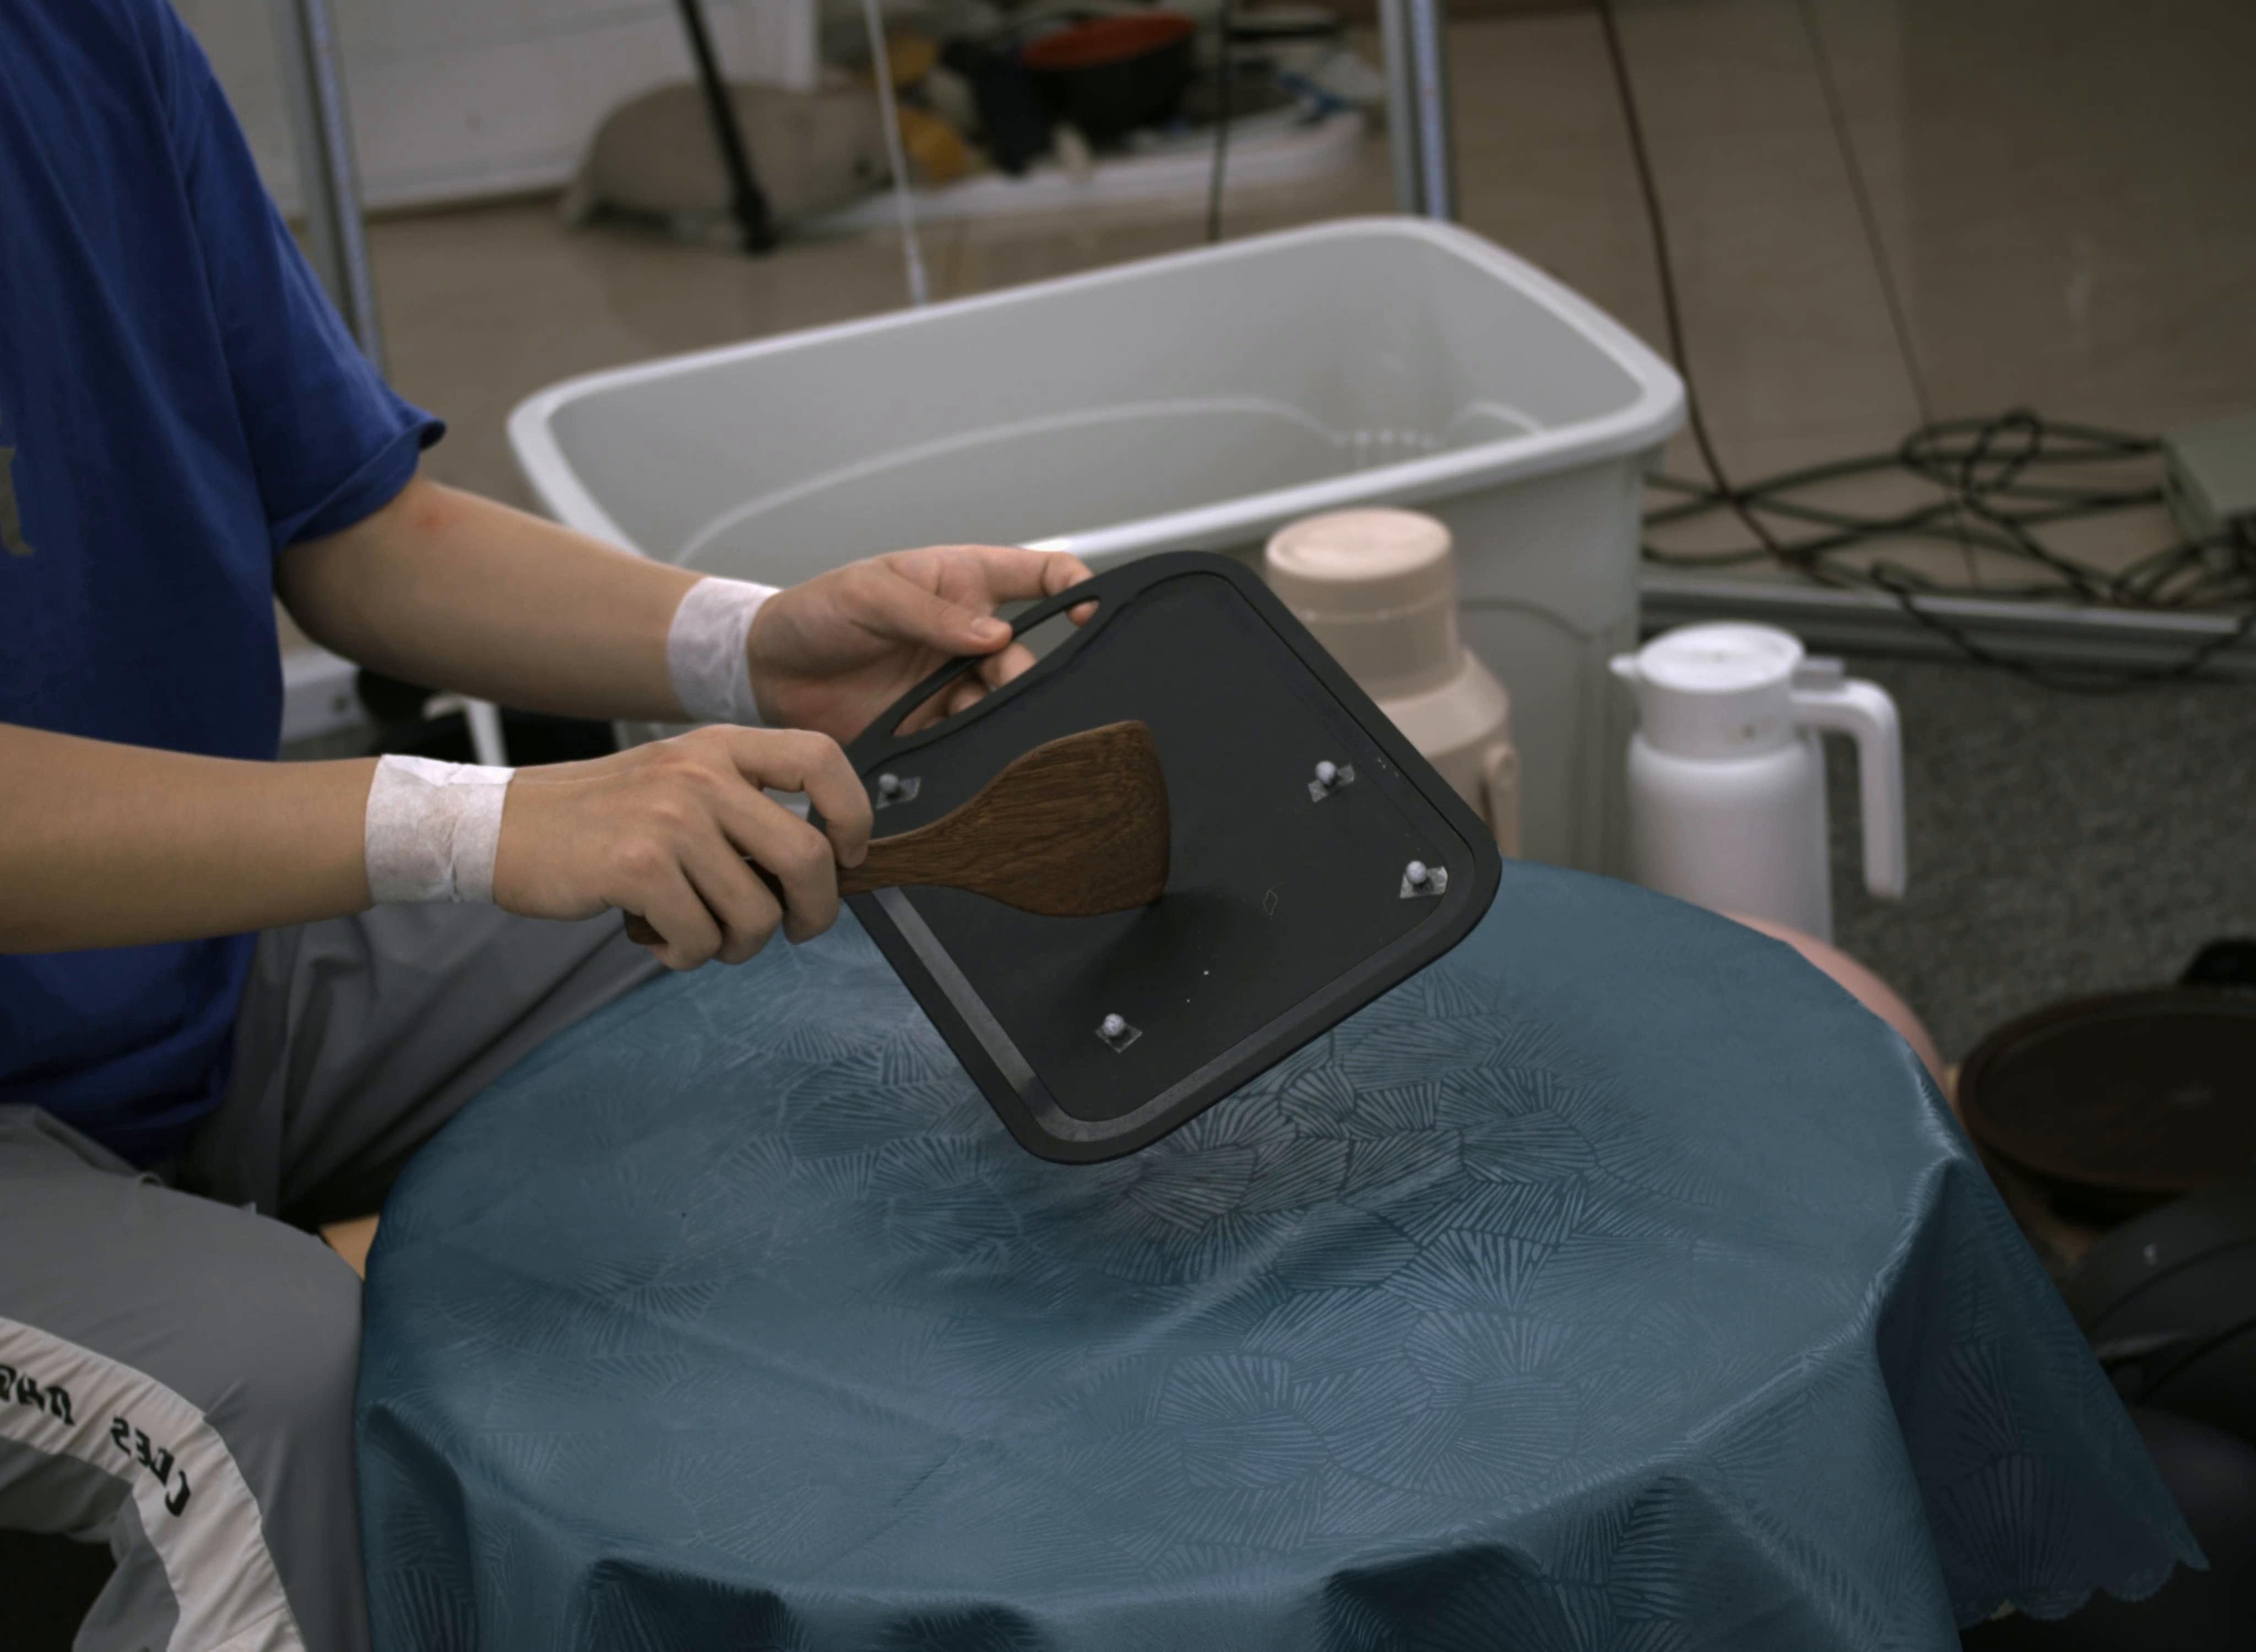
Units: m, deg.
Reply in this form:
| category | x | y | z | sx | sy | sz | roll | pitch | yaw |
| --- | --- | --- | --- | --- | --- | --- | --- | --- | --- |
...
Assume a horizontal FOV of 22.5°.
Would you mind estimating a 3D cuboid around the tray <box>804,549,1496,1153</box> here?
| category | x | y | z | sx | sy | sz | roll | pitch | yaw |
| --- | --- | --- | --- | --- | --- | --- | --- | --- | --- |
| tray | -0.002 | -0.001 | 2.176 | 0.210 | 0.010 | 0.320 | -33 | 38 | -4 |

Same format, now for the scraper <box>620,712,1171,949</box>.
| category | x | y | z | sx | sy | sz | roll | pitch | yaw |
| --- | --- | --- | --- | --- | --- | --- | --- | --- | --- |
| scraper | -0.085 | 0.012 | 2.105 | 0.211 | 0.077 | 0.011 | -12 | 20 | -10 |
